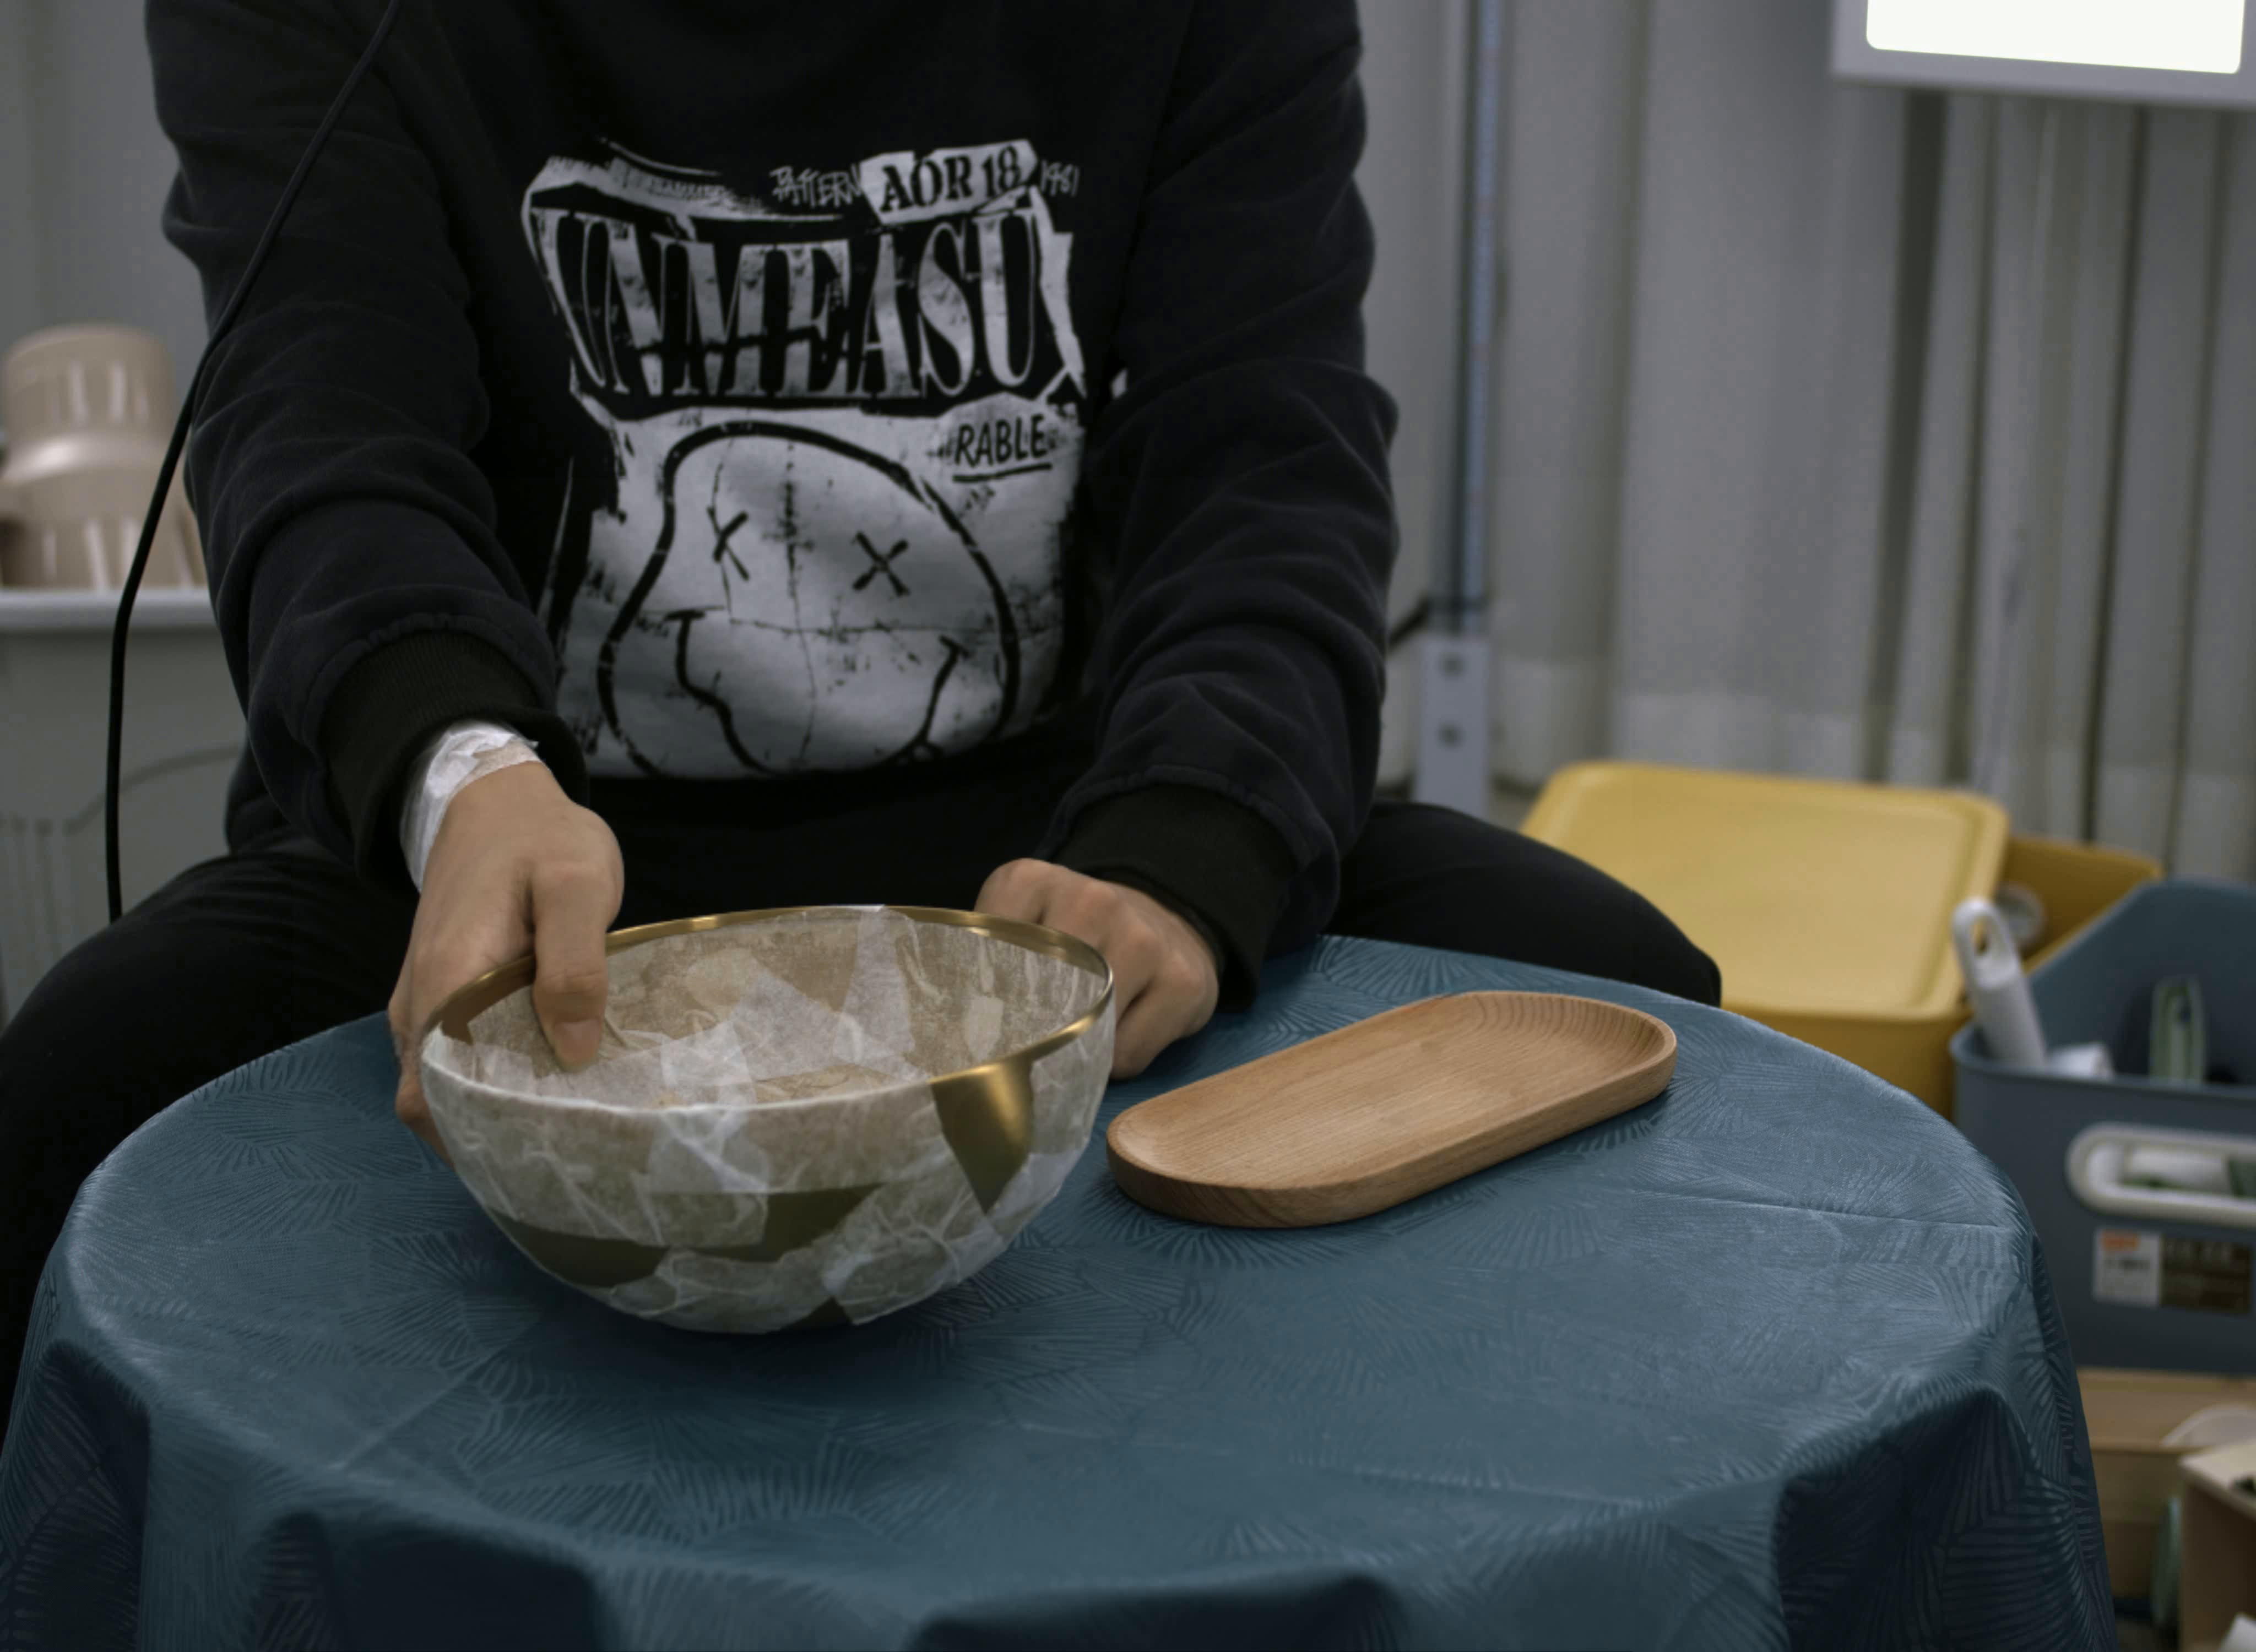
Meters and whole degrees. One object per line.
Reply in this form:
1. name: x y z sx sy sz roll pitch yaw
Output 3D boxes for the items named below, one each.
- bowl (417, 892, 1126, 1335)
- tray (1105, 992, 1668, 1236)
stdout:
1. bowl: -0.097 0.091 1.520 0.214 0.095 0.213 -4 15 2
2. tray: 0.085 0.090 1.681 0.100 0.020 0.232 11 20 38
